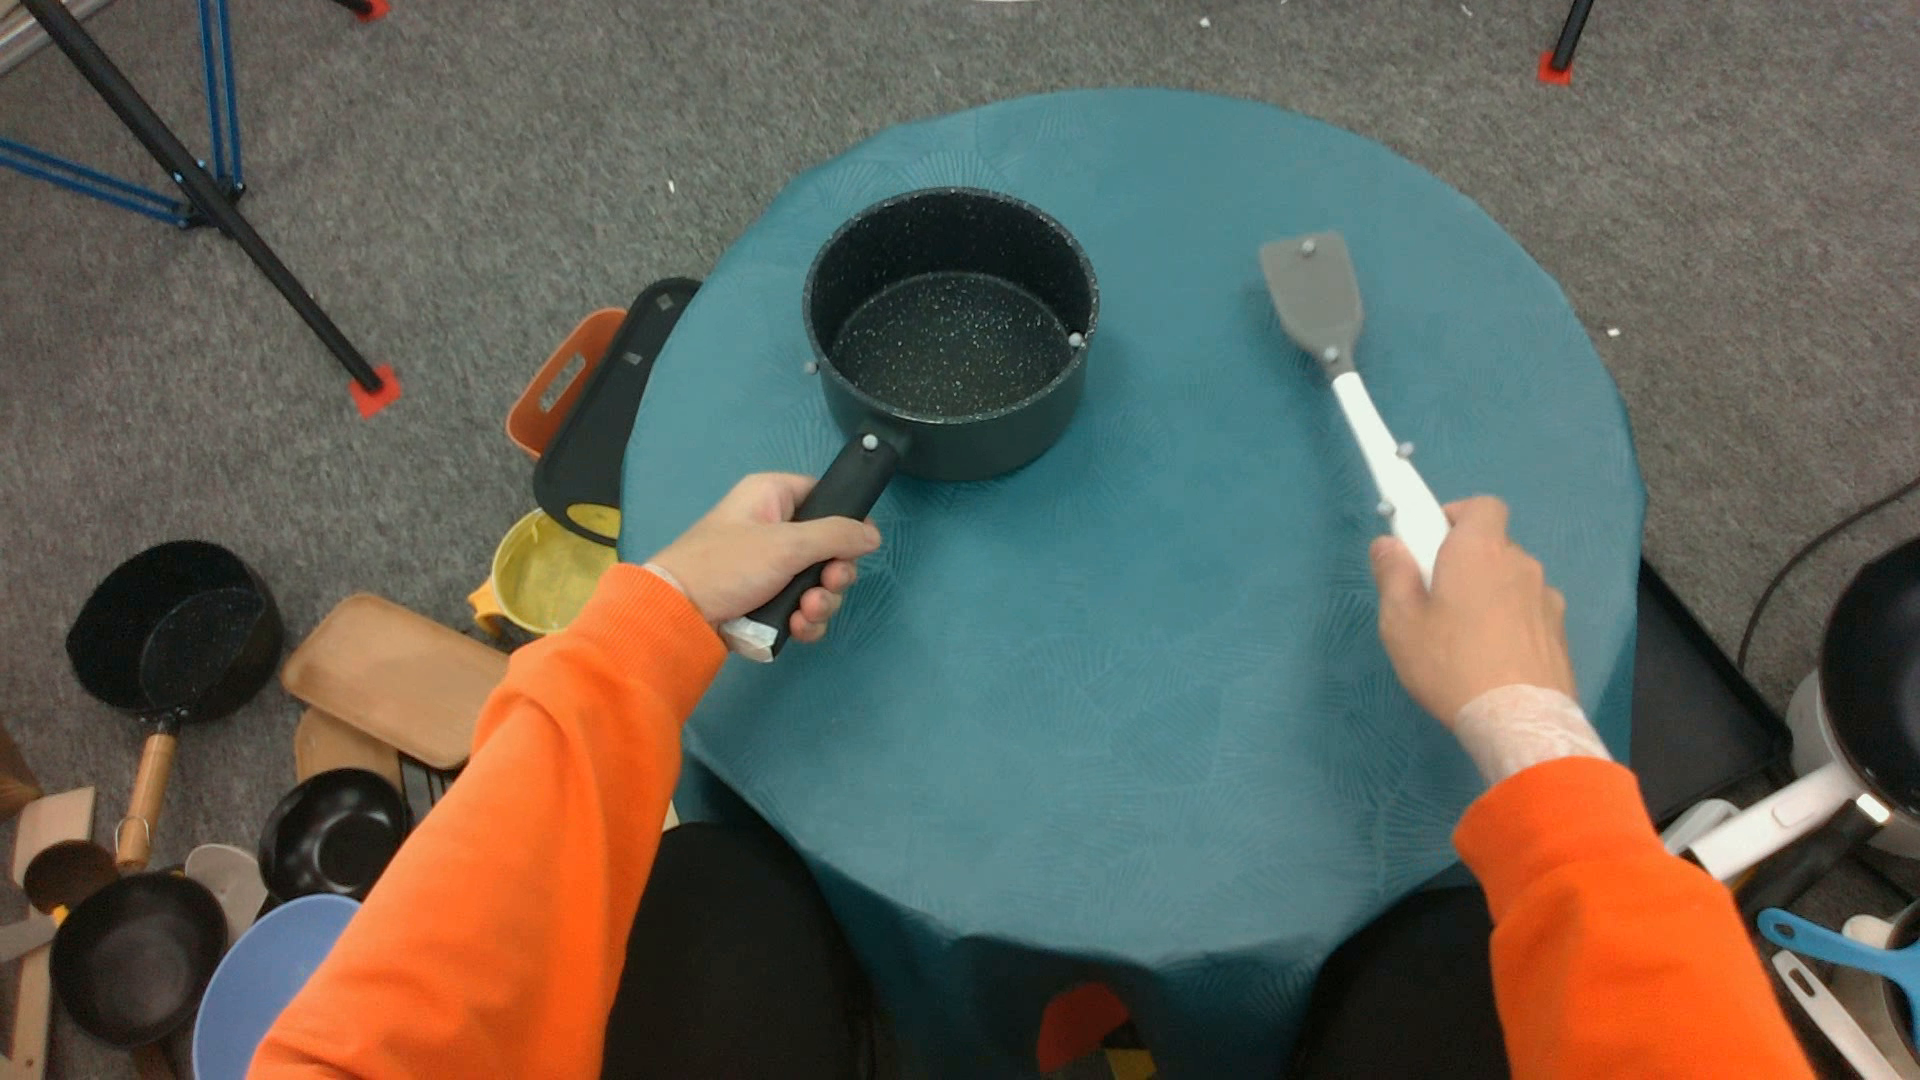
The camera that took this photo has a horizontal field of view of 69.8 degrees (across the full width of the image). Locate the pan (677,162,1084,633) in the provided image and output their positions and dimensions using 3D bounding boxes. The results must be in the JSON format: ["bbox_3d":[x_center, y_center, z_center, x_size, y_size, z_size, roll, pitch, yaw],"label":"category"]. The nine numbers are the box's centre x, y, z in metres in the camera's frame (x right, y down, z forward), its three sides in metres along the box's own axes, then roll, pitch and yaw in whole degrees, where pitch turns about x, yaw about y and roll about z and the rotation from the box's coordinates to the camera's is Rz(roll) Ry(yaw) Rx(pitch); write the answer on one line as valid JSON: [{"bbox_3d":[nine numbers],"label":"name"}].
[{"bbox_3d":[-0.051,-0.072,0.778,0.172,0.086,0.330,24,63,12],"label":"pan"}]

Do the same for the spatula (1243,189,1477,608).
[{"bbox_3d":[0.219,-0.090,0.763,0.058,0.032,0.288,-14,54,5],"label":"spatula"}]
